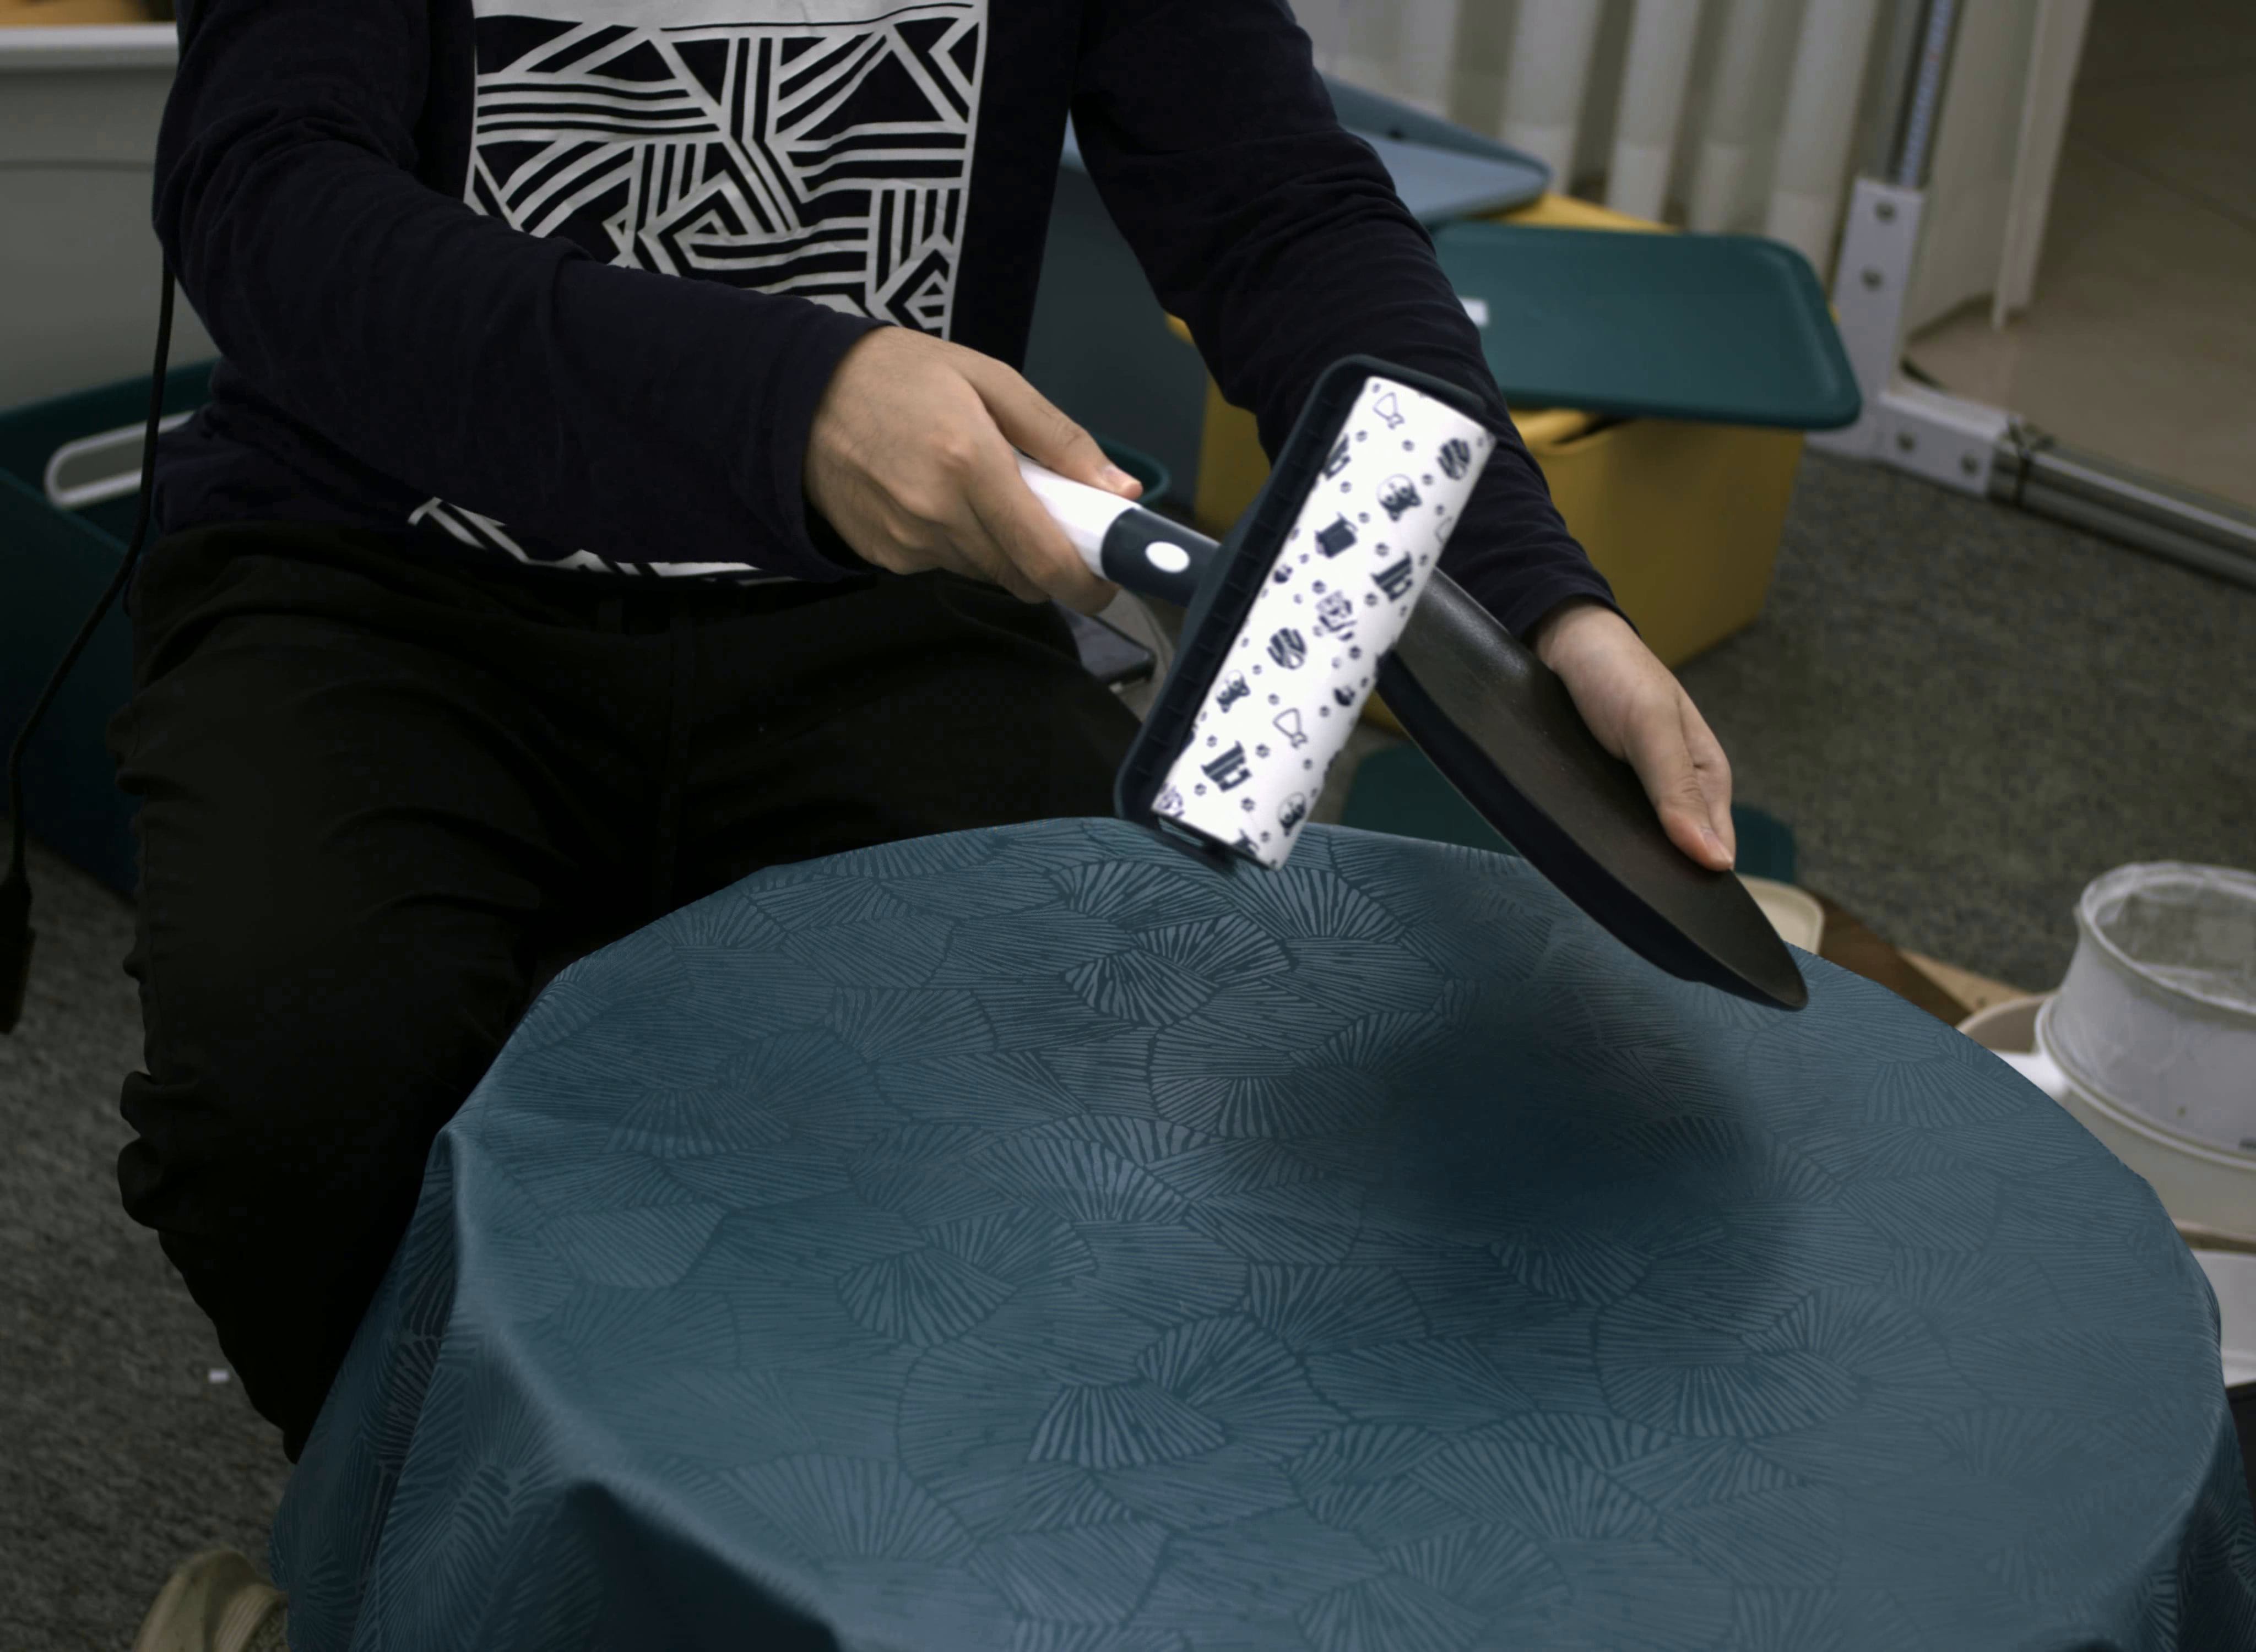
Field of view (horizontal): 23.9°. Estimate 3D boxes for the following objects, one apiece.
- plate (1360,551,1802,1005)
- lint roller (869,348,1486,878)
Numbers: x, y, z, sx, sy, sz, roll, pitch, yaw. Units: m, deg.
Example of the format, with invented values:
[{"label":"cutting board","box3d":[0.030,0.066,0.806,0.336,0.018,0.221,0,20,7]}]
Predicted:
[{"label":"plate","box3d":[0.142,-0.021,1.850,0.243,0.023,0.245,42,13,-12]},{"label":"lint roller","box3d":[-0.008,-0.098,1.803,0.249,0.176,0.050,23,-4,40]}]
